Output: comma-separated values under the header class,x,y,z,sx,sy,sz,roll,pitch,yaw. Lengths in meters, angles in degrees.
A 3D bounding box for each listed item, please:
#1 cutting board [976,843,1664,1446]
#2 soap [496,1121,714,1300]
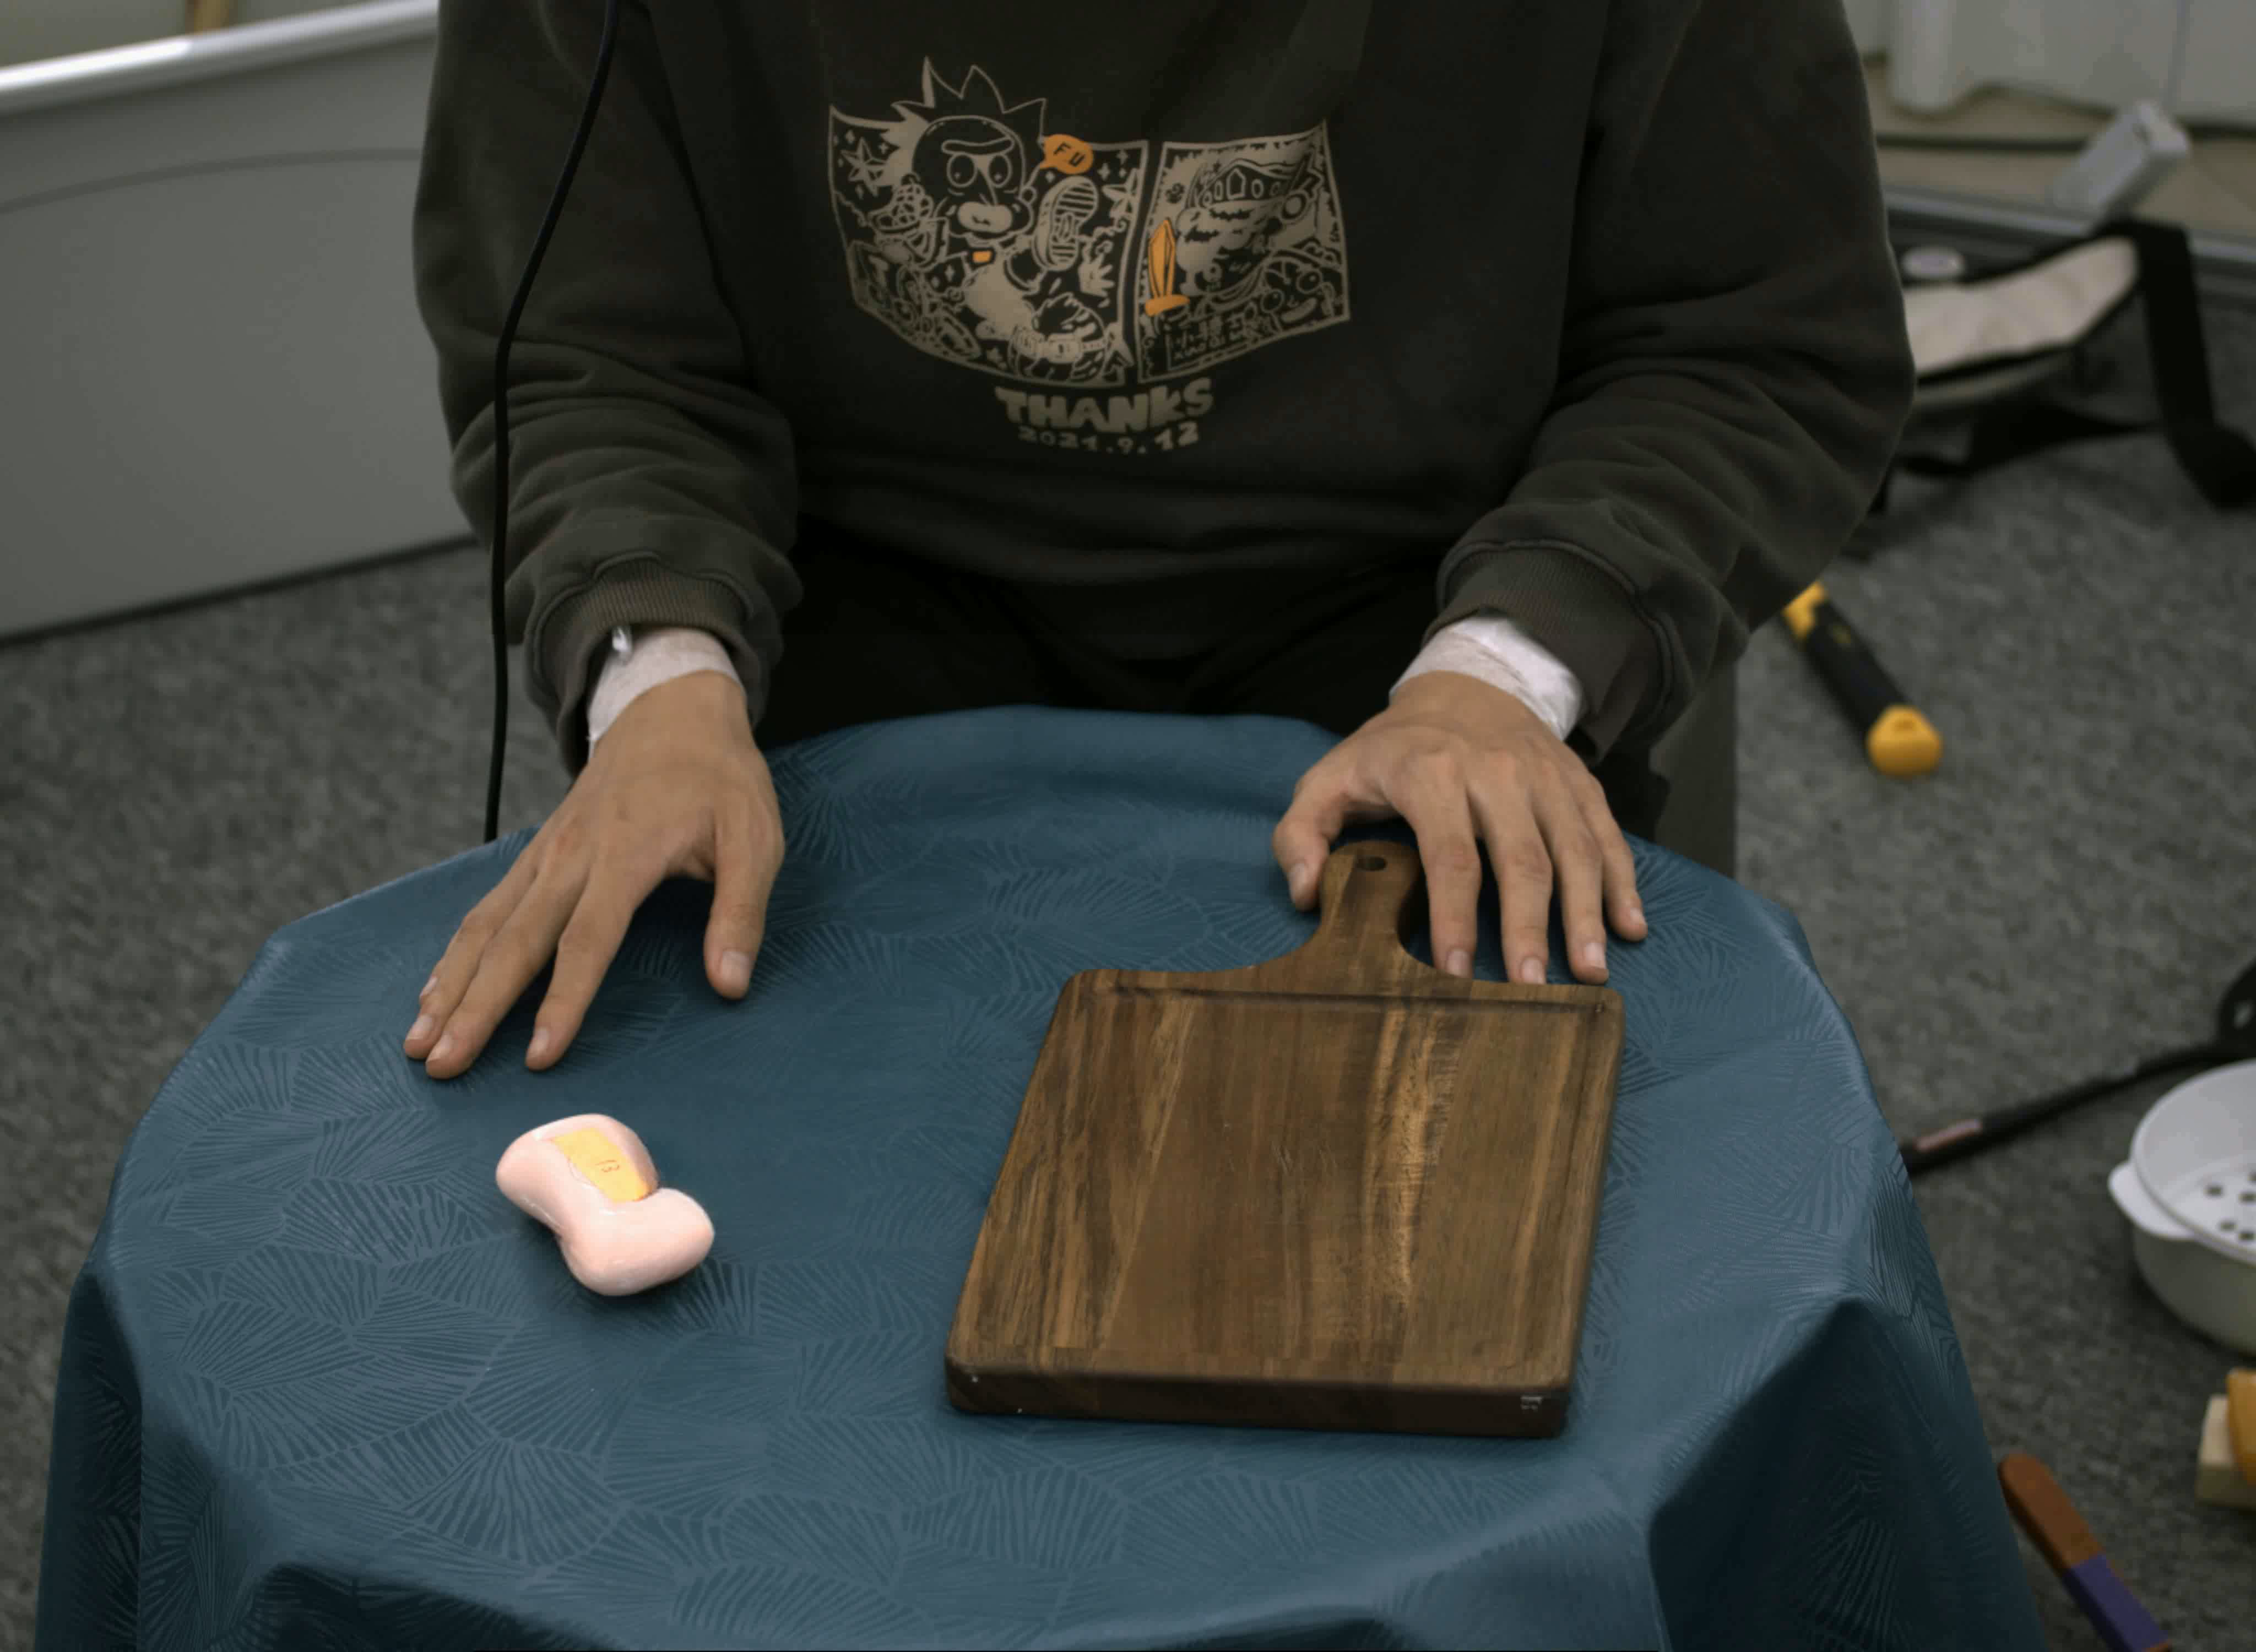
class,x,y,z,sx,sy,sz,roll,pitch,yaw
cutting board,0.076,0.097,1.877,0.200,0.023,0.358,2,28,10
soap,-0.172,0.126,1.840,0.050,0.030,0.095,-15,28,-23
